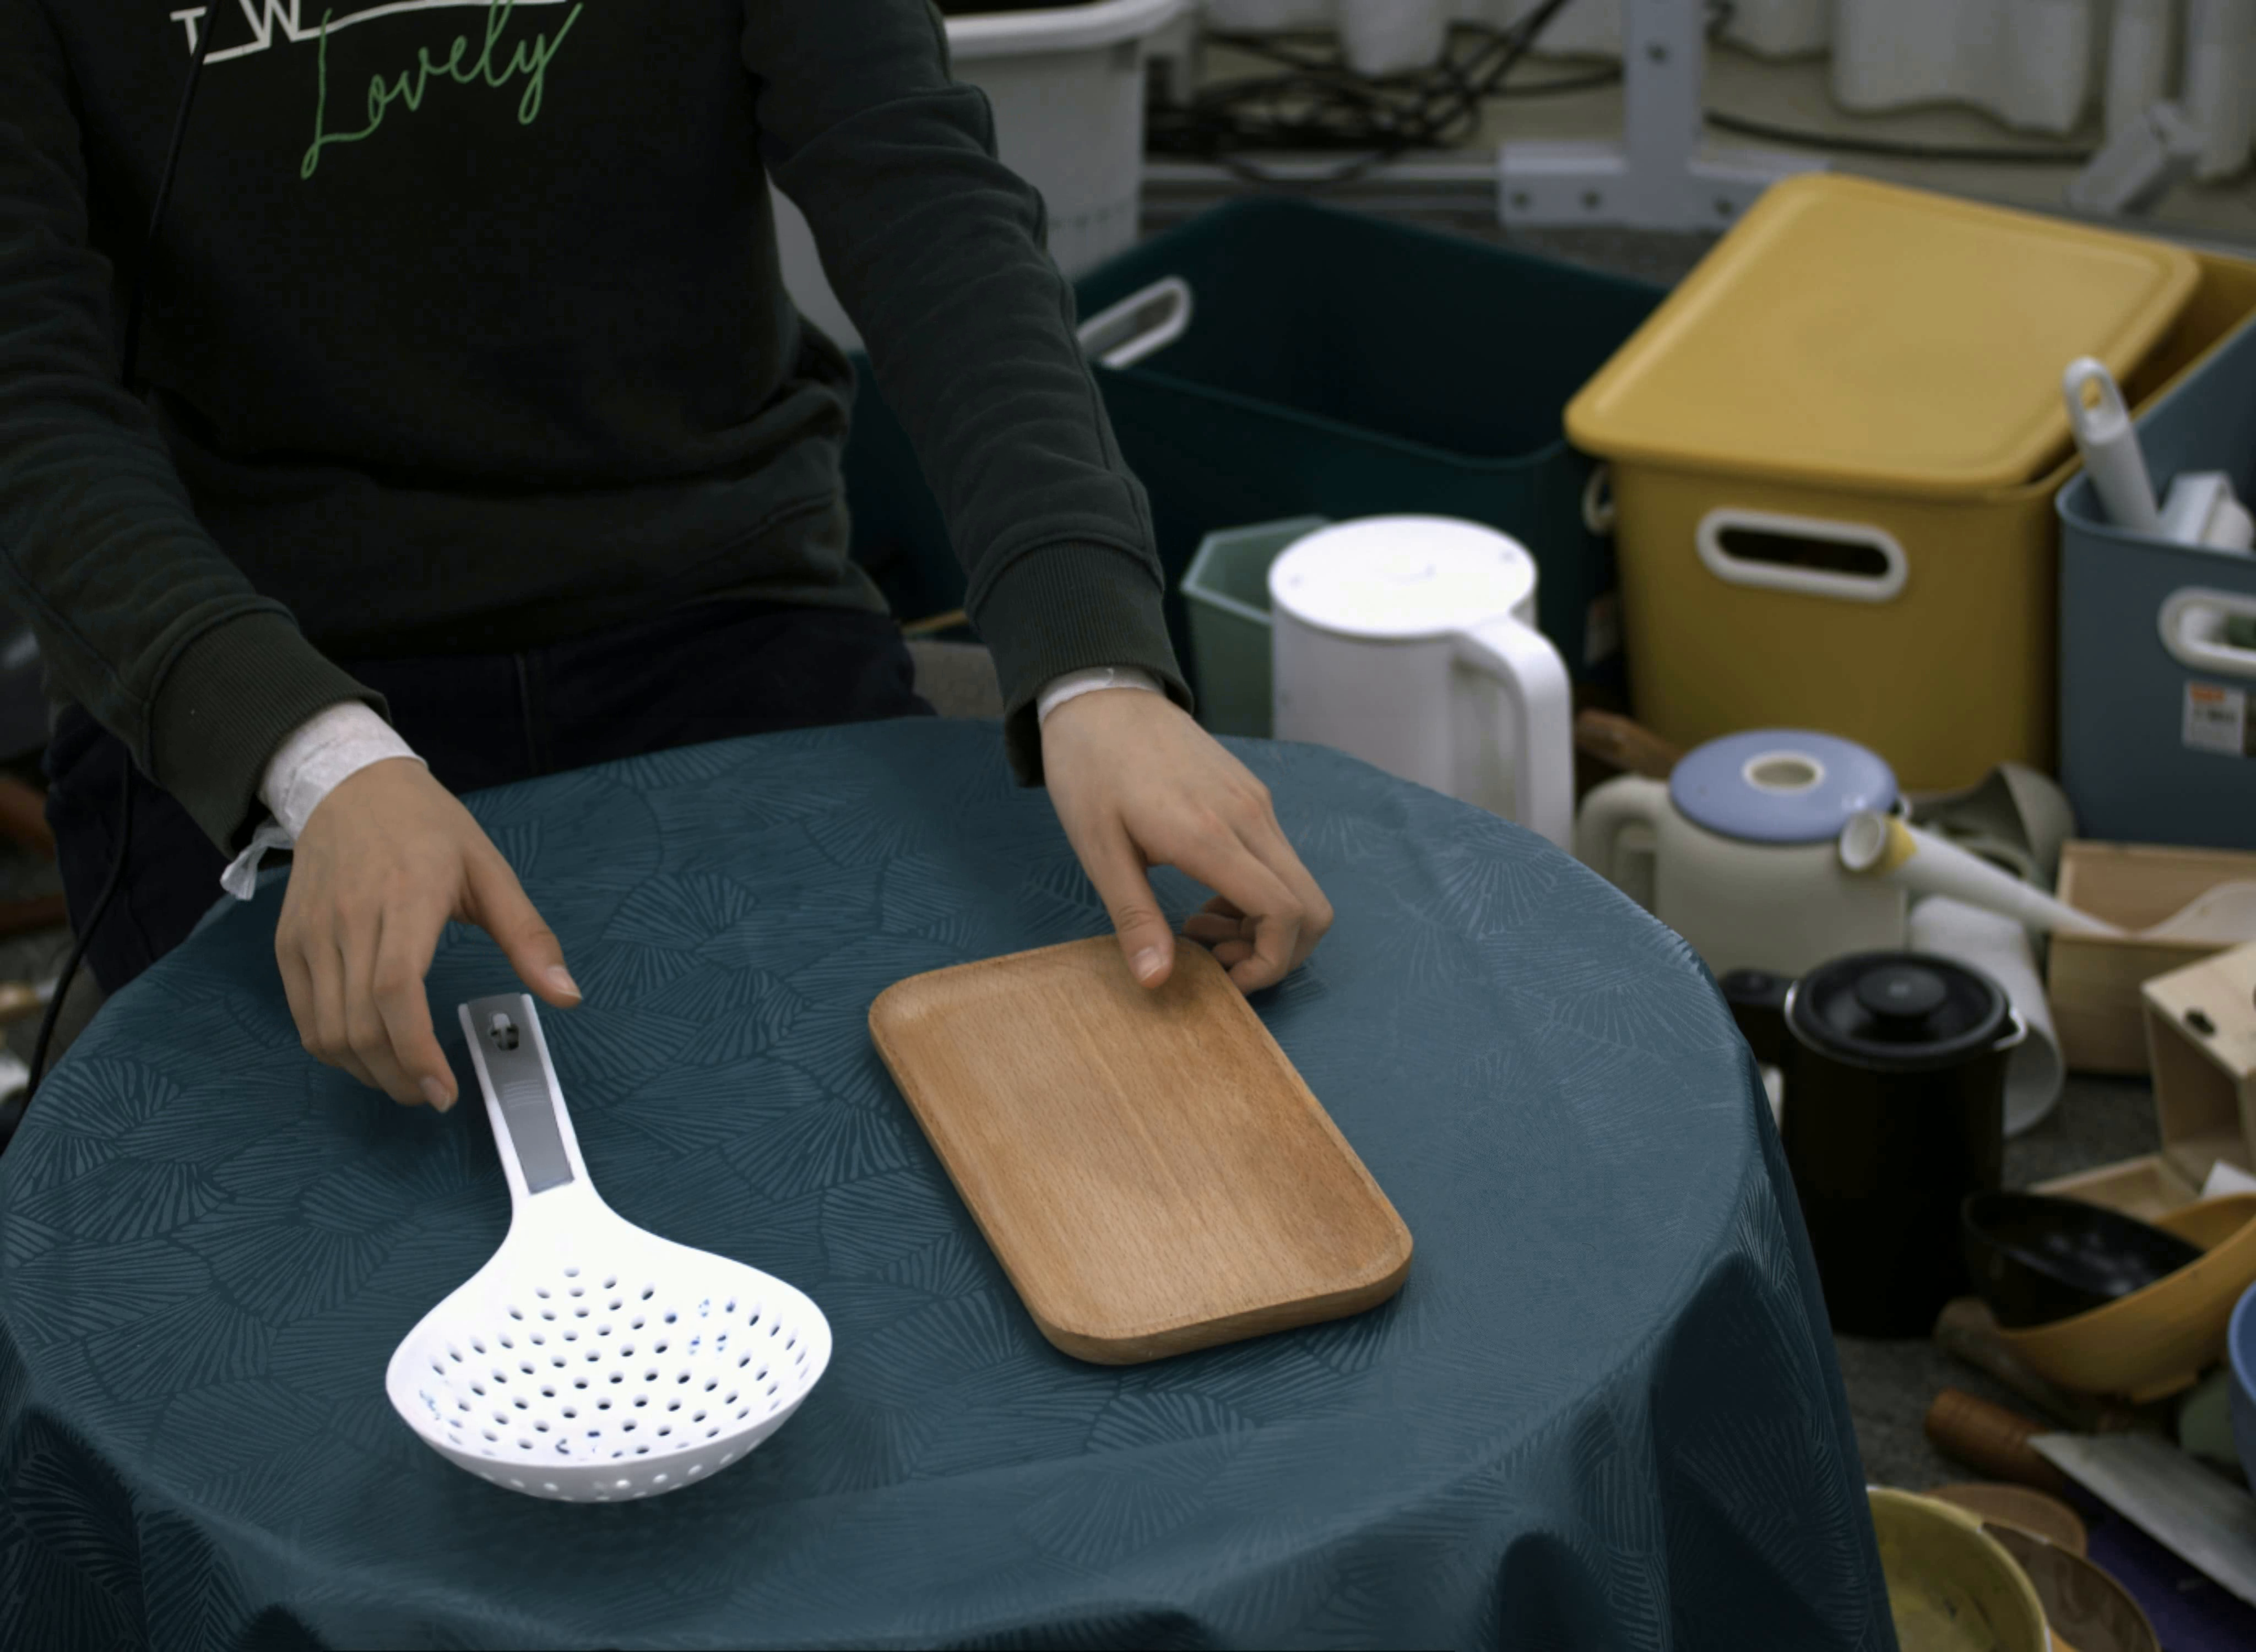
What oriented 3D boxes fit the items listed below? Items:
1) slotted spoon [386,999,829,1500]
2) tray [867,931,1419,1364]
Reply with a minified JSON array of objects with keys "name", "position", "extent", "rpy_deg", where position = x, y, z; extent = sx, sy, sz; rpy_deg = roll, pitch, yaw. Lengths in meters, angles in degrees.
[{"name":"slotted spoon","position":[-0.183,0.130,1.814],"extent":[0.136,0.045,0.353],"rpy_deg":[-6,27,-11]},{"name":"tray","position":[0.001,0.104,1.876],"extent":[0.130,0.022,0.253],"rpy_deg":[-9,27,-15]}]
